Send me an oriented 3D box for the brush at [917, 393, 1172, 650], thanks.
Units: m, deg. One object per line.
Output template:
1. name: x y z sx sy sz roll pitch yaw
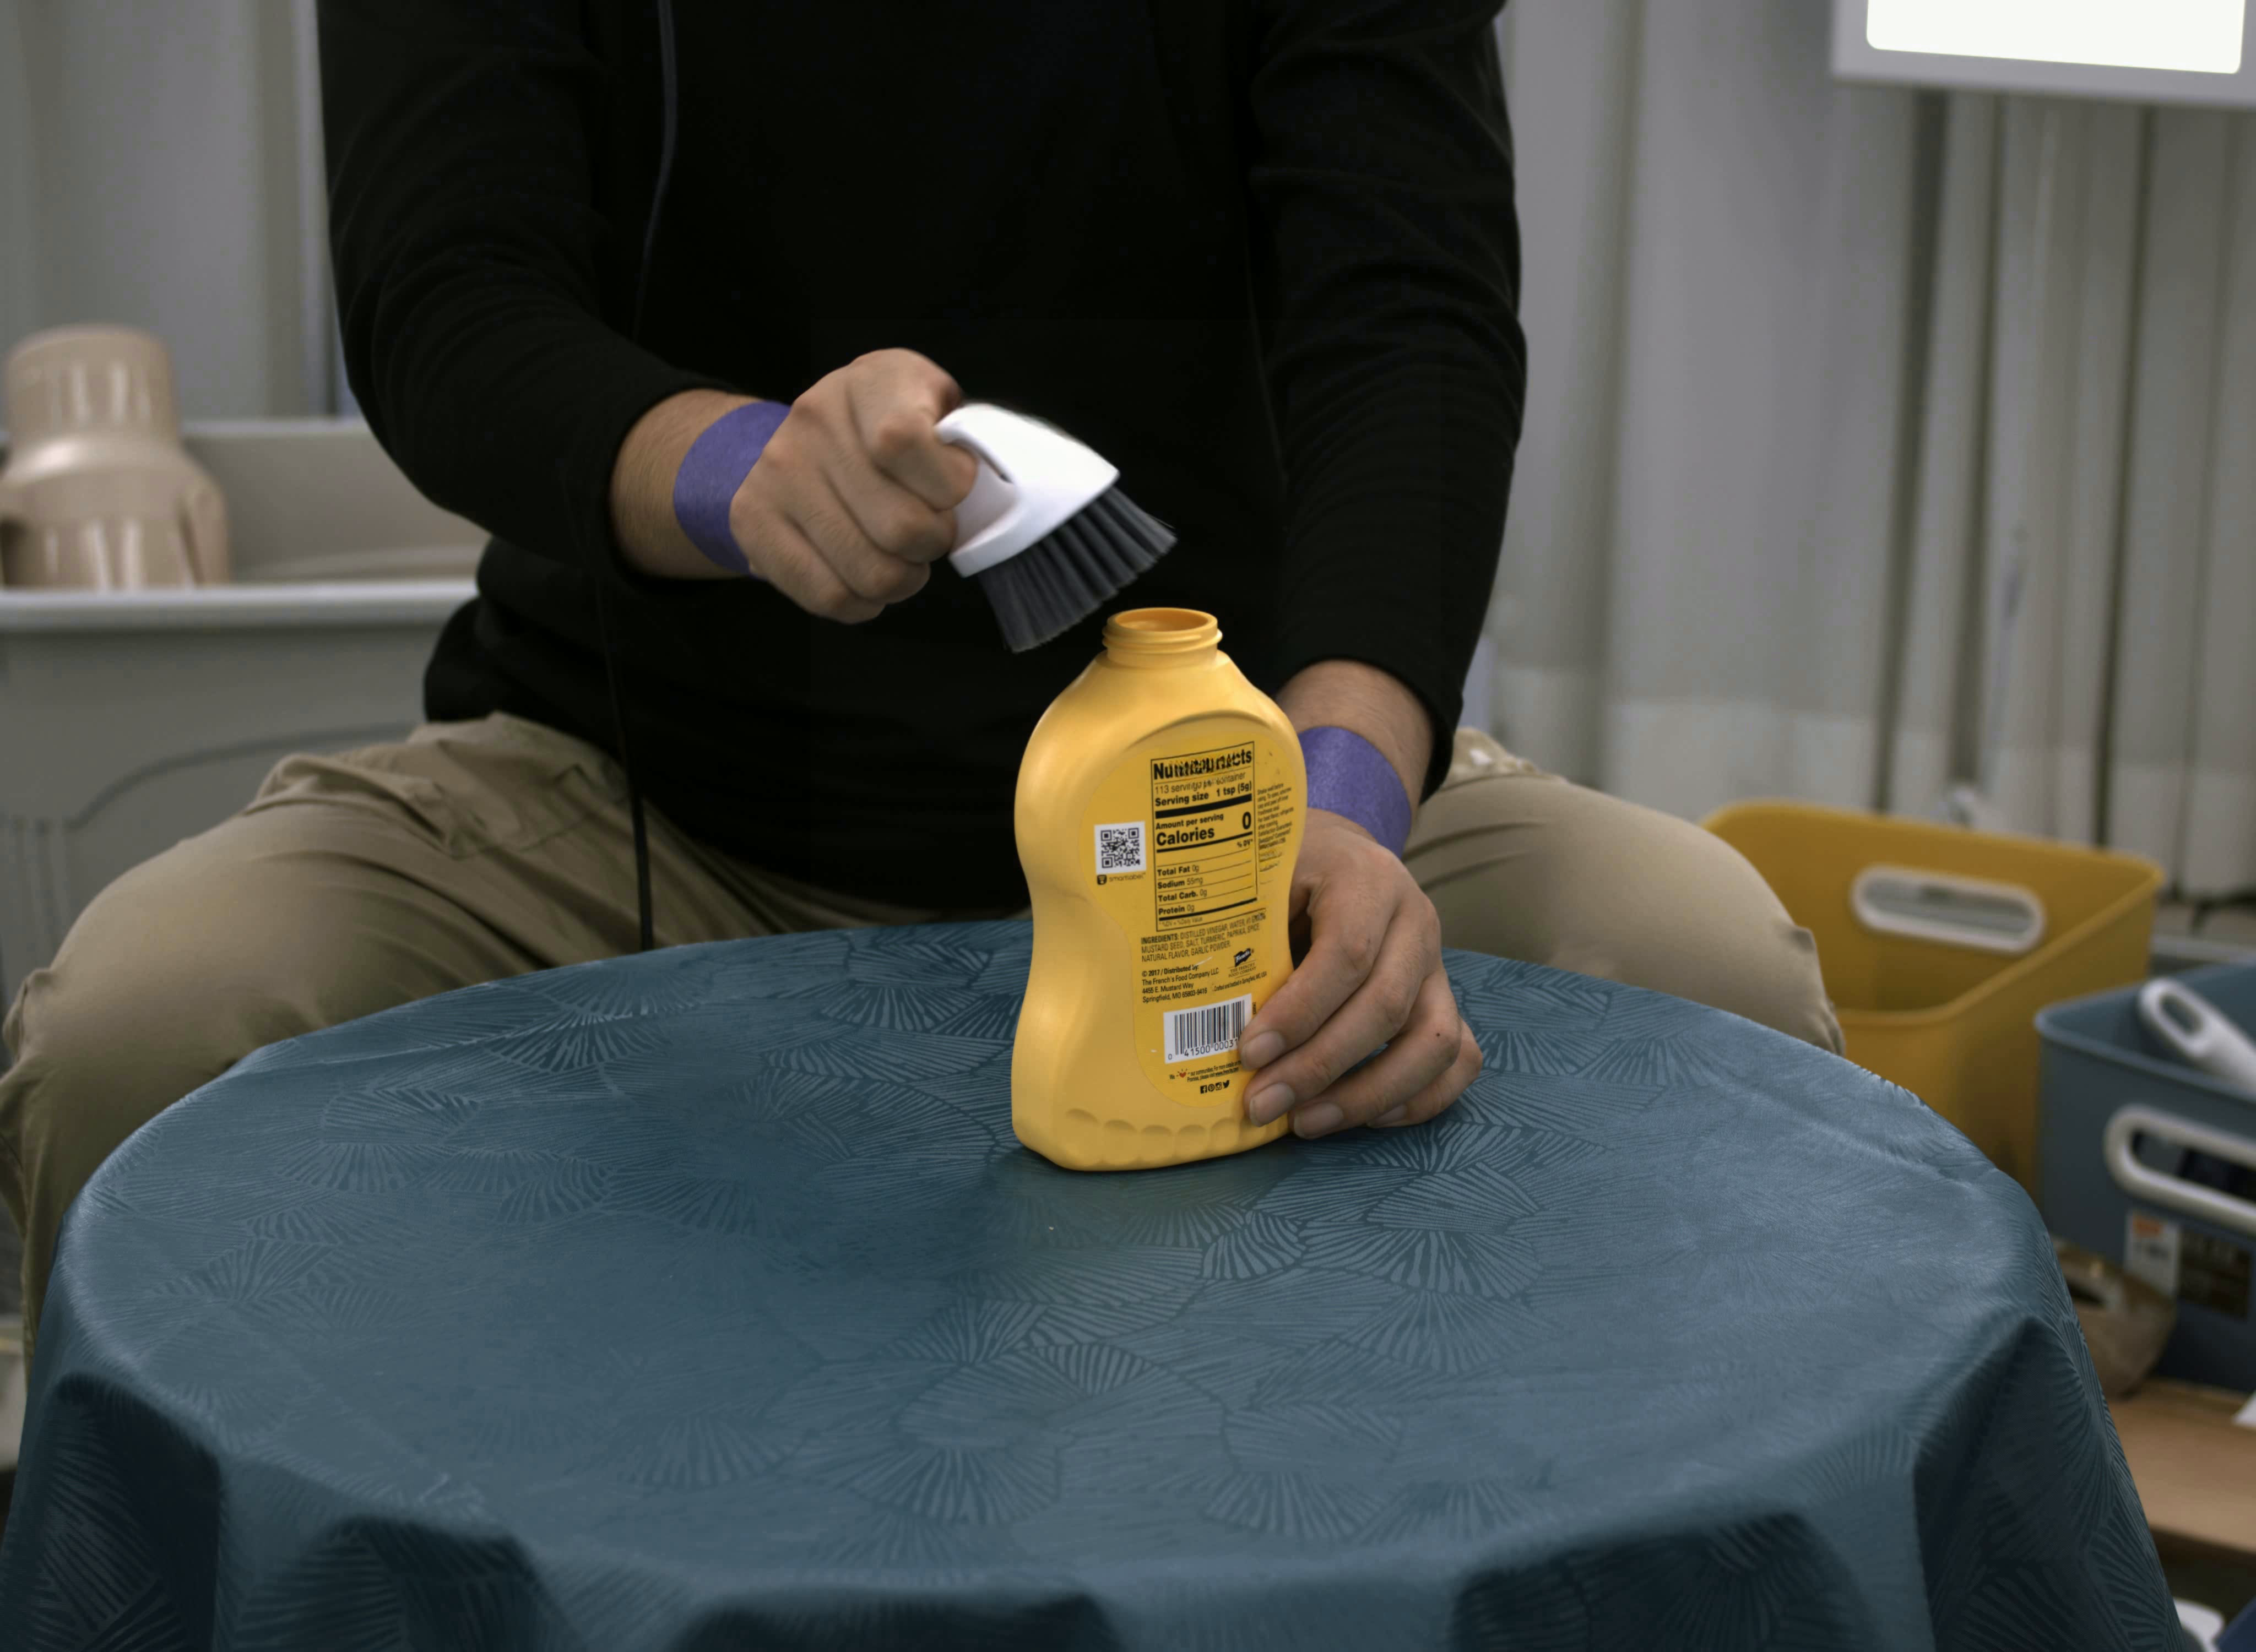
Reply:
1. brush: -0.034 -0.098 1.610 0.050 0.073 0.098 -36 10 -16

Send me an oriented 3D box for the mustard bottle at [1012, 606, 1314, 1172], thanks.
1. mustard bottle: 0.010 0.018 1.644 0.098 0.173 0.058 -11 18 -28
